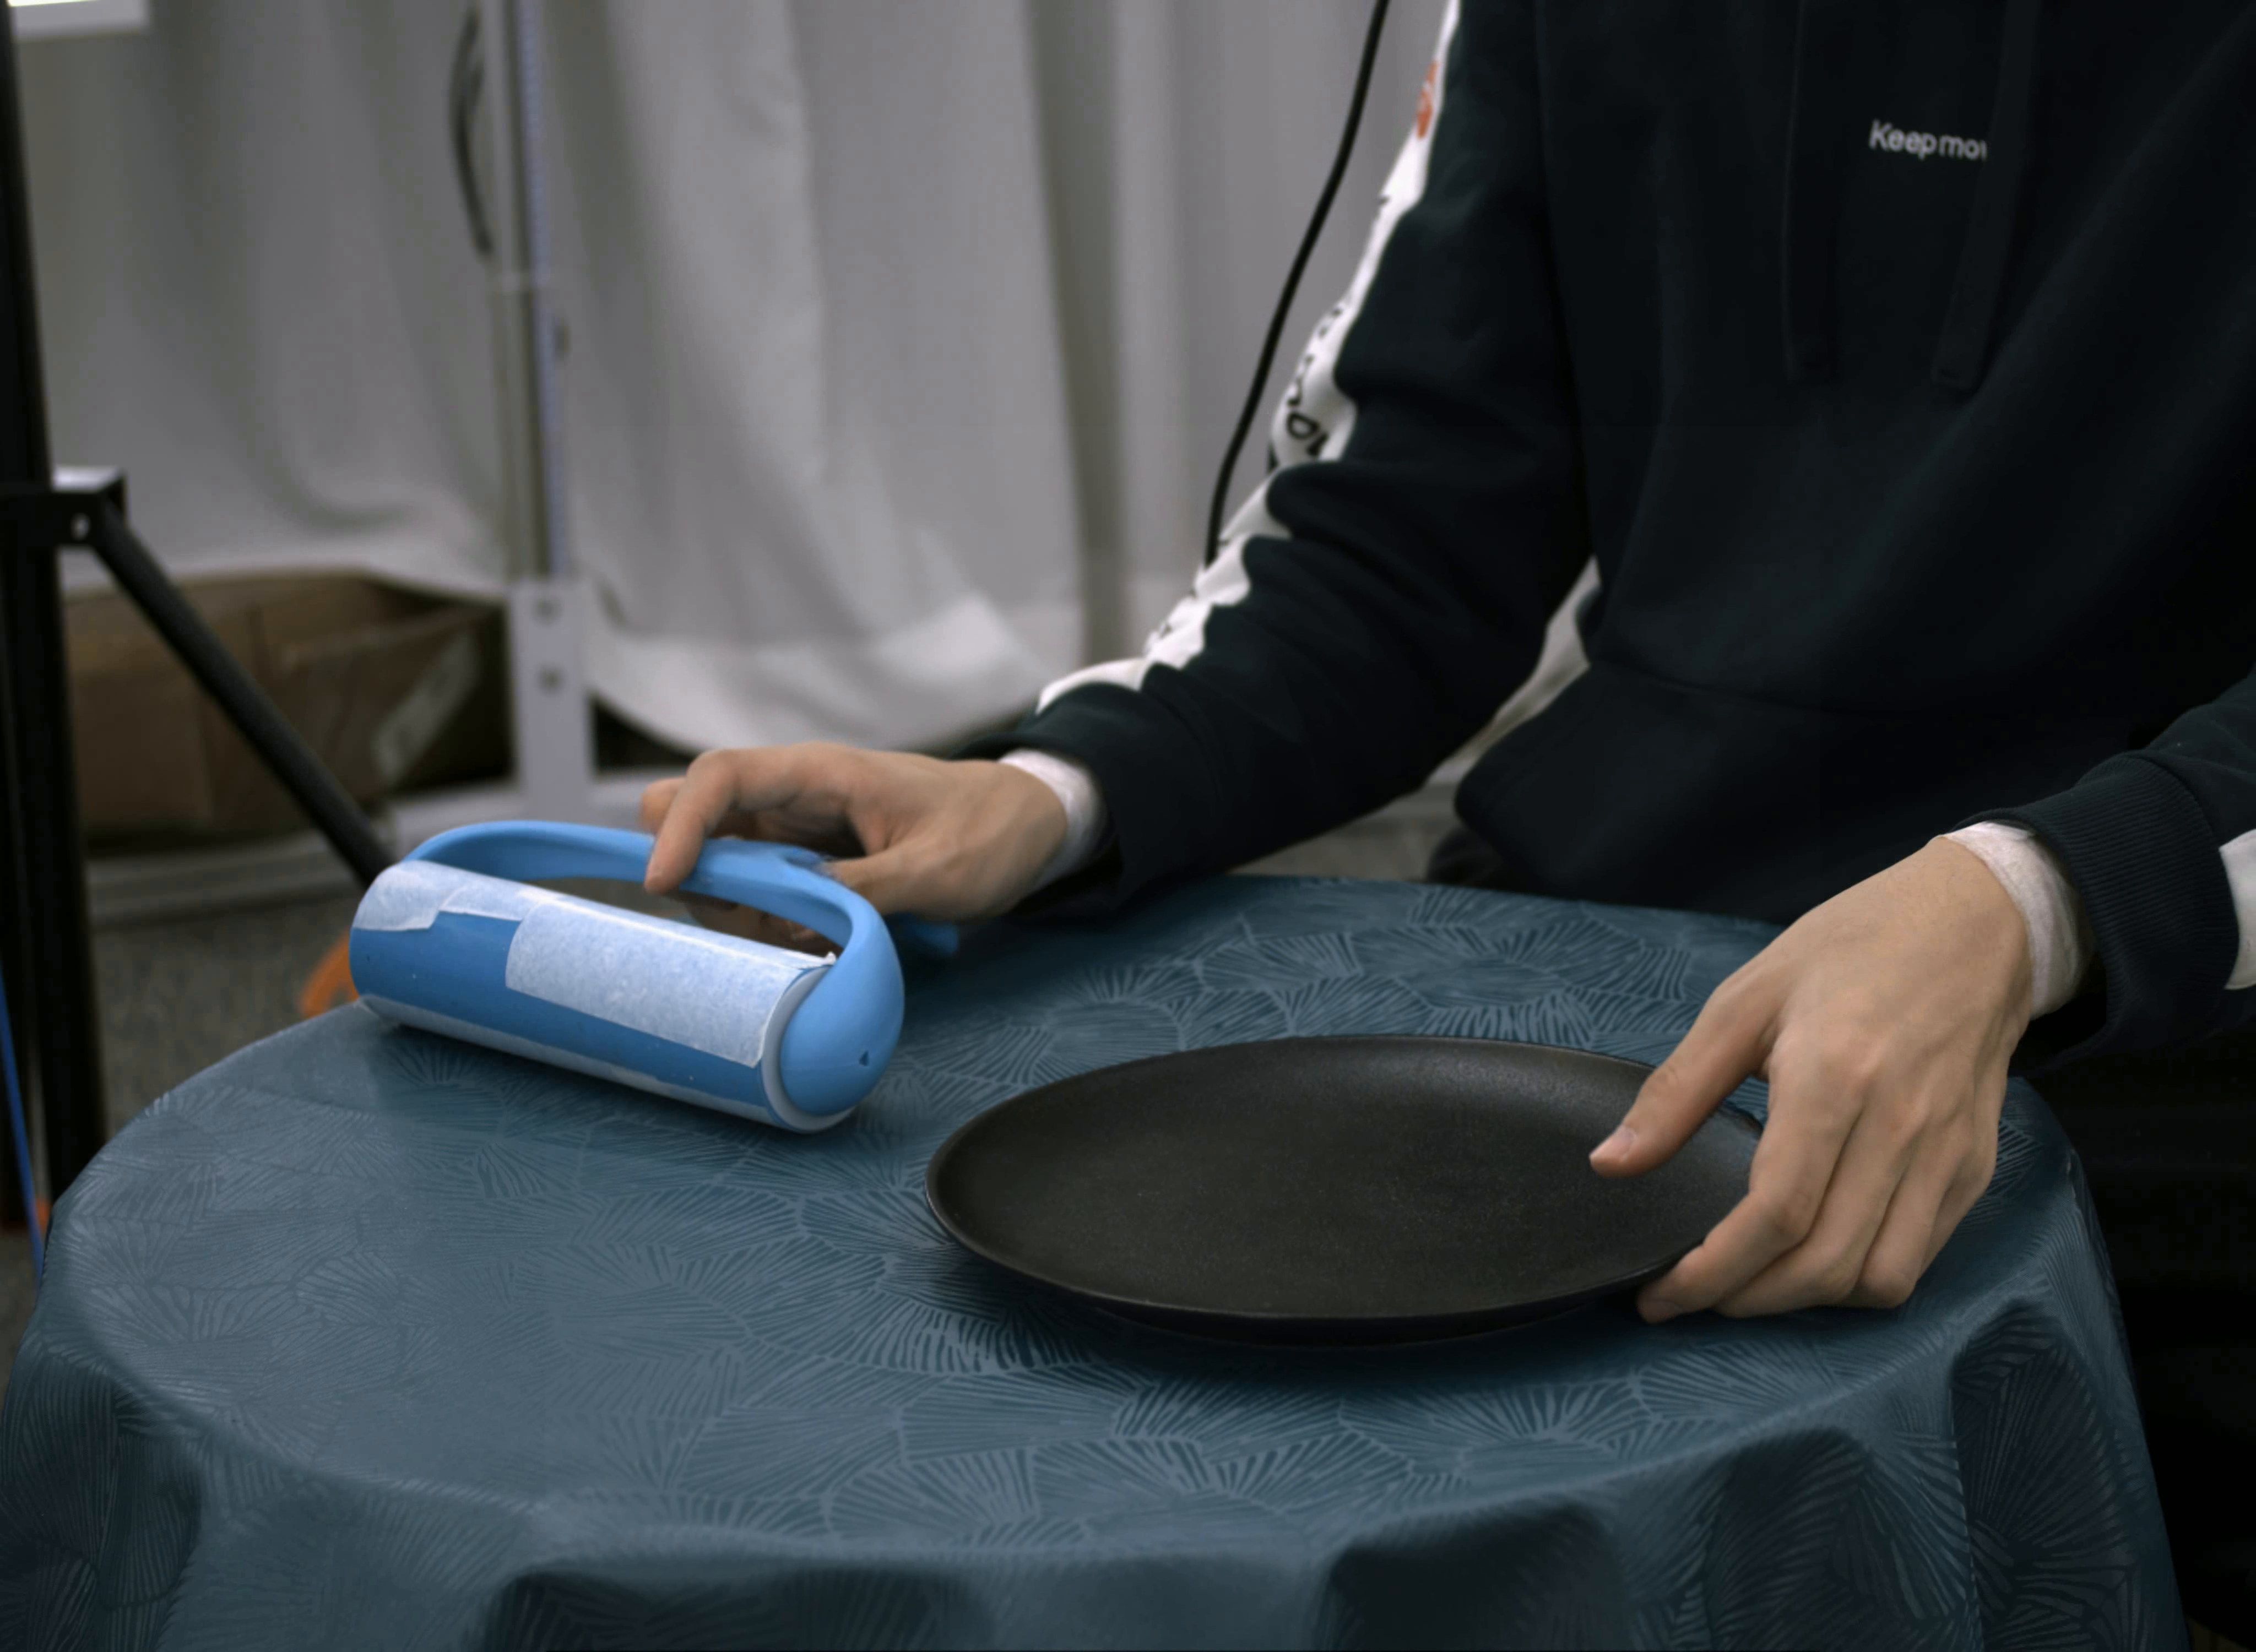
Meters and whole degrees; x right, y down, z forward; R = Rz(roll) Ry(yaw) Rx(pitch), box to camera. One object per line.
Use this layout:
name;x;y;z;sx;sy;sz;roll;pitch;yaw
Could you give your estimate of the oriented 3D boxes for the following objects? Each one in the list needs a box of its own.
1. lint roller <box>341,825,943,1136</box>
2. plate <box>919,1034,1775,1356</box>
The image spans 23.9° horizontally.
lint roller;-0.128;0.039;1.723;0.234;0.068;0.176;10;19;39
plate;0.062;0.108;1.508;0.243;0.023;0.245;-3;16;-1
